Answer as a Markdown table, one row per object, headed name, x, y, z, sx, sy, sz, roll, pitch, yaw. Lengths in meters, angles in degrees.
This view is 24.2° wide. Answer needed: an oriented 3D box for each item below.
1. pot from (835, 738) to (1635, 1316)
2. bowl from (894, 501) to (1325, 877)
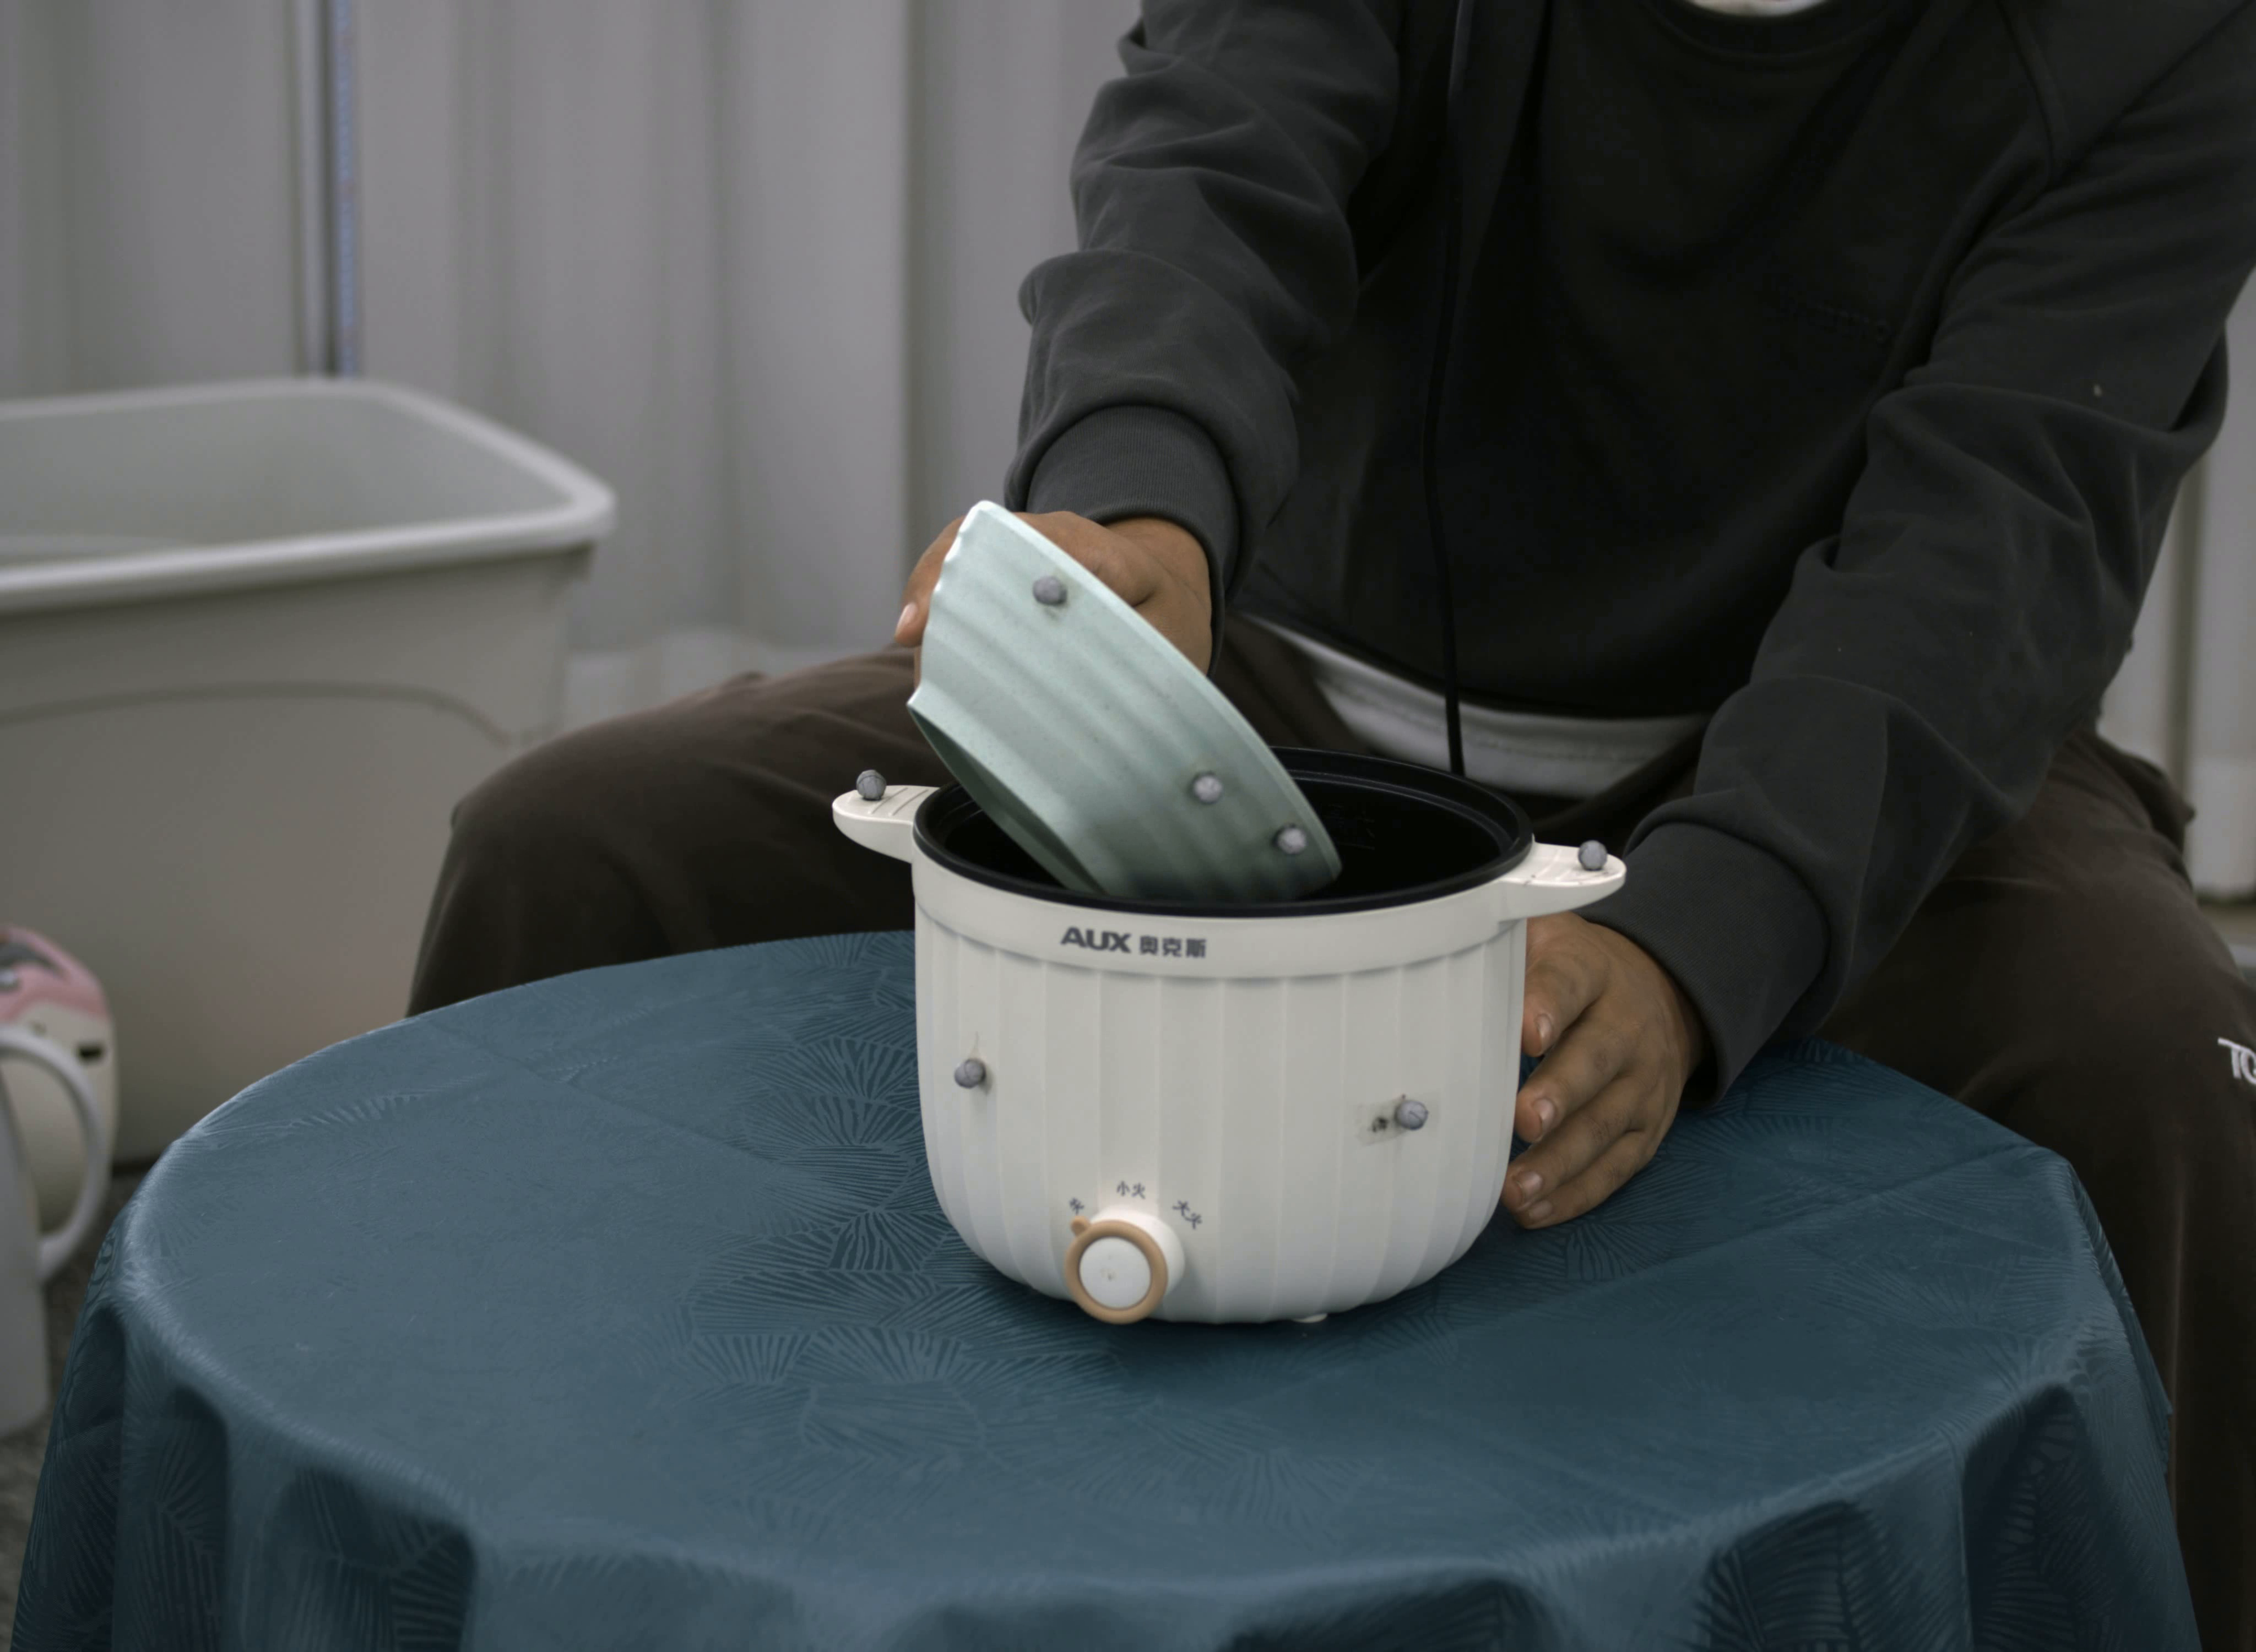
| name | x | y | z | sx | sy | sz | roll | pitch | yaw |
| --- | --- | --- | --- | --- | --- | --- | --- | --- | --- |
| pot | 0.029 | 0.061 | 1.546 | 0.238 | 0.143 | 0.190 | 3 | 13 | 15 |
| bowl | -0.014 | -0.019 | 1.512 | 0.058 | 0.153 | 0.149 | -44 | 27 | -7 |
